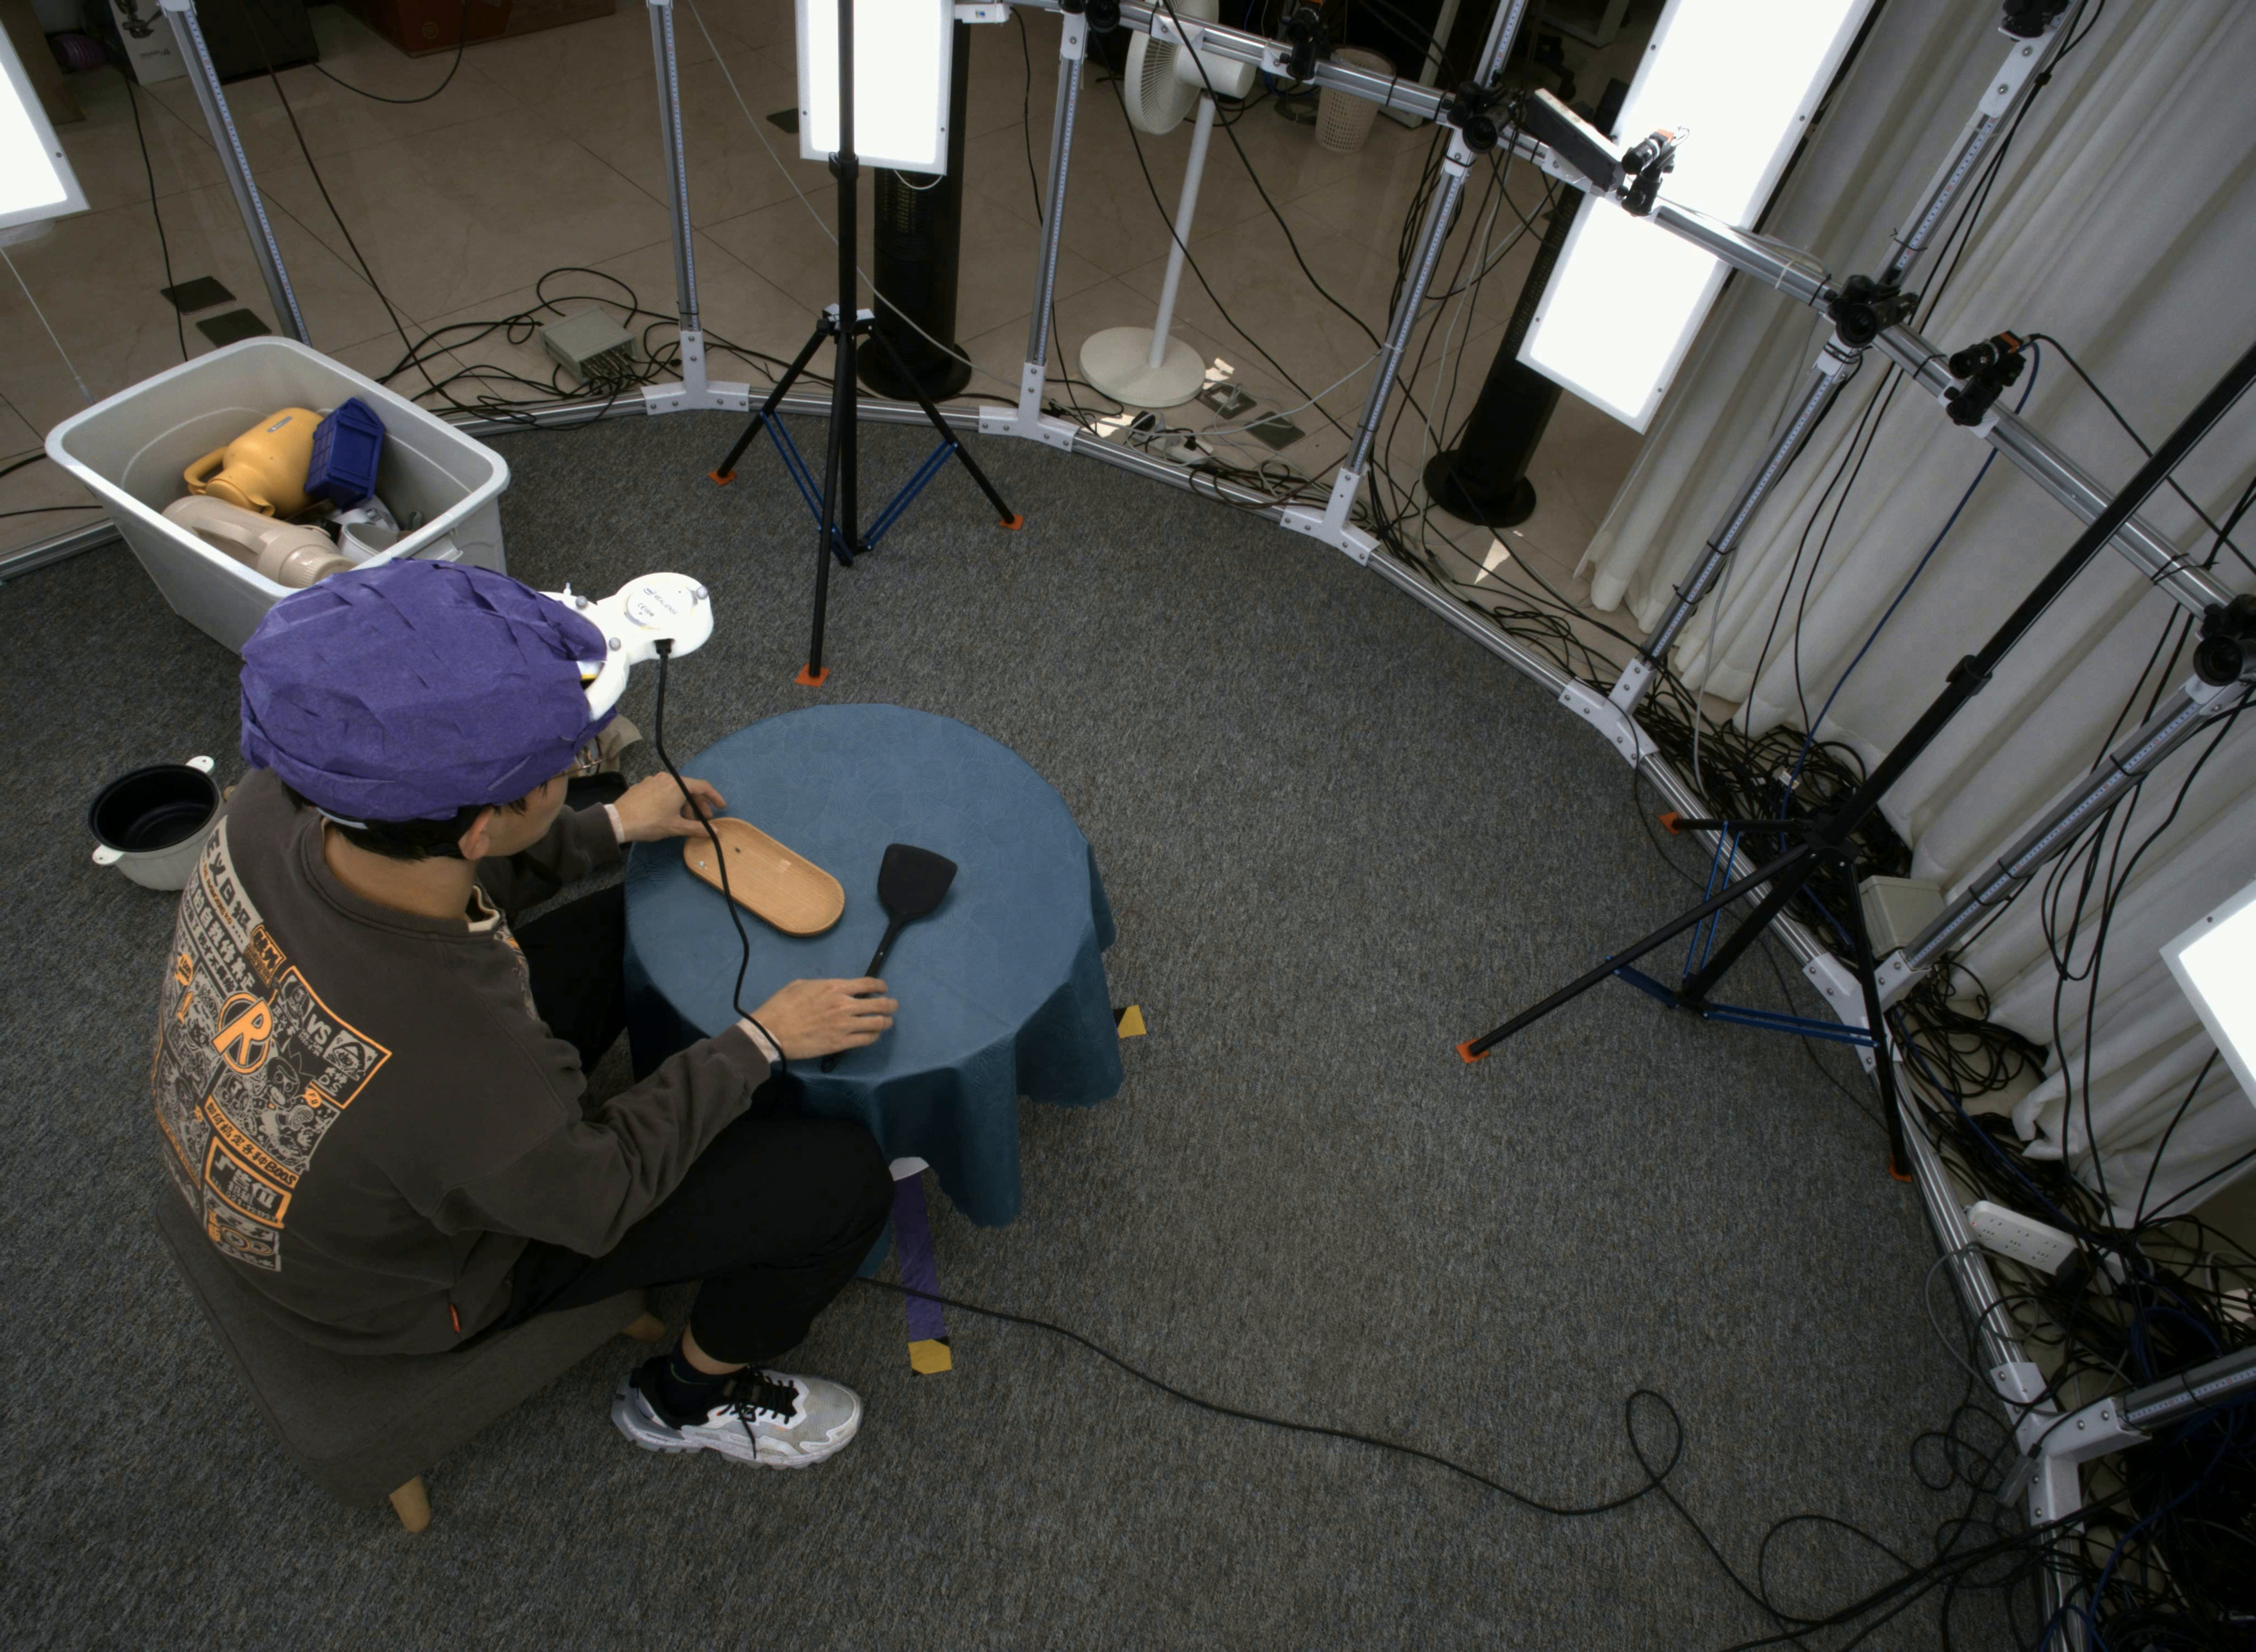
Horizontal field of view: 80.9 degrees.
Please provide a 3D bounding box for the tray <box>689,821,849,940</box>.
[{"bbox_3d":[-0.463,0.068,1.669,0.227,0.021,0.101,31,54,8],"label":"tray"}]

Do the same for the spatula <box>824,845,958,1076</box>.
[{"bbox_3d":[-0.310,0.163,1.623,0.098,0.041,0.323,18,52,2],"label":"spatula"}]
